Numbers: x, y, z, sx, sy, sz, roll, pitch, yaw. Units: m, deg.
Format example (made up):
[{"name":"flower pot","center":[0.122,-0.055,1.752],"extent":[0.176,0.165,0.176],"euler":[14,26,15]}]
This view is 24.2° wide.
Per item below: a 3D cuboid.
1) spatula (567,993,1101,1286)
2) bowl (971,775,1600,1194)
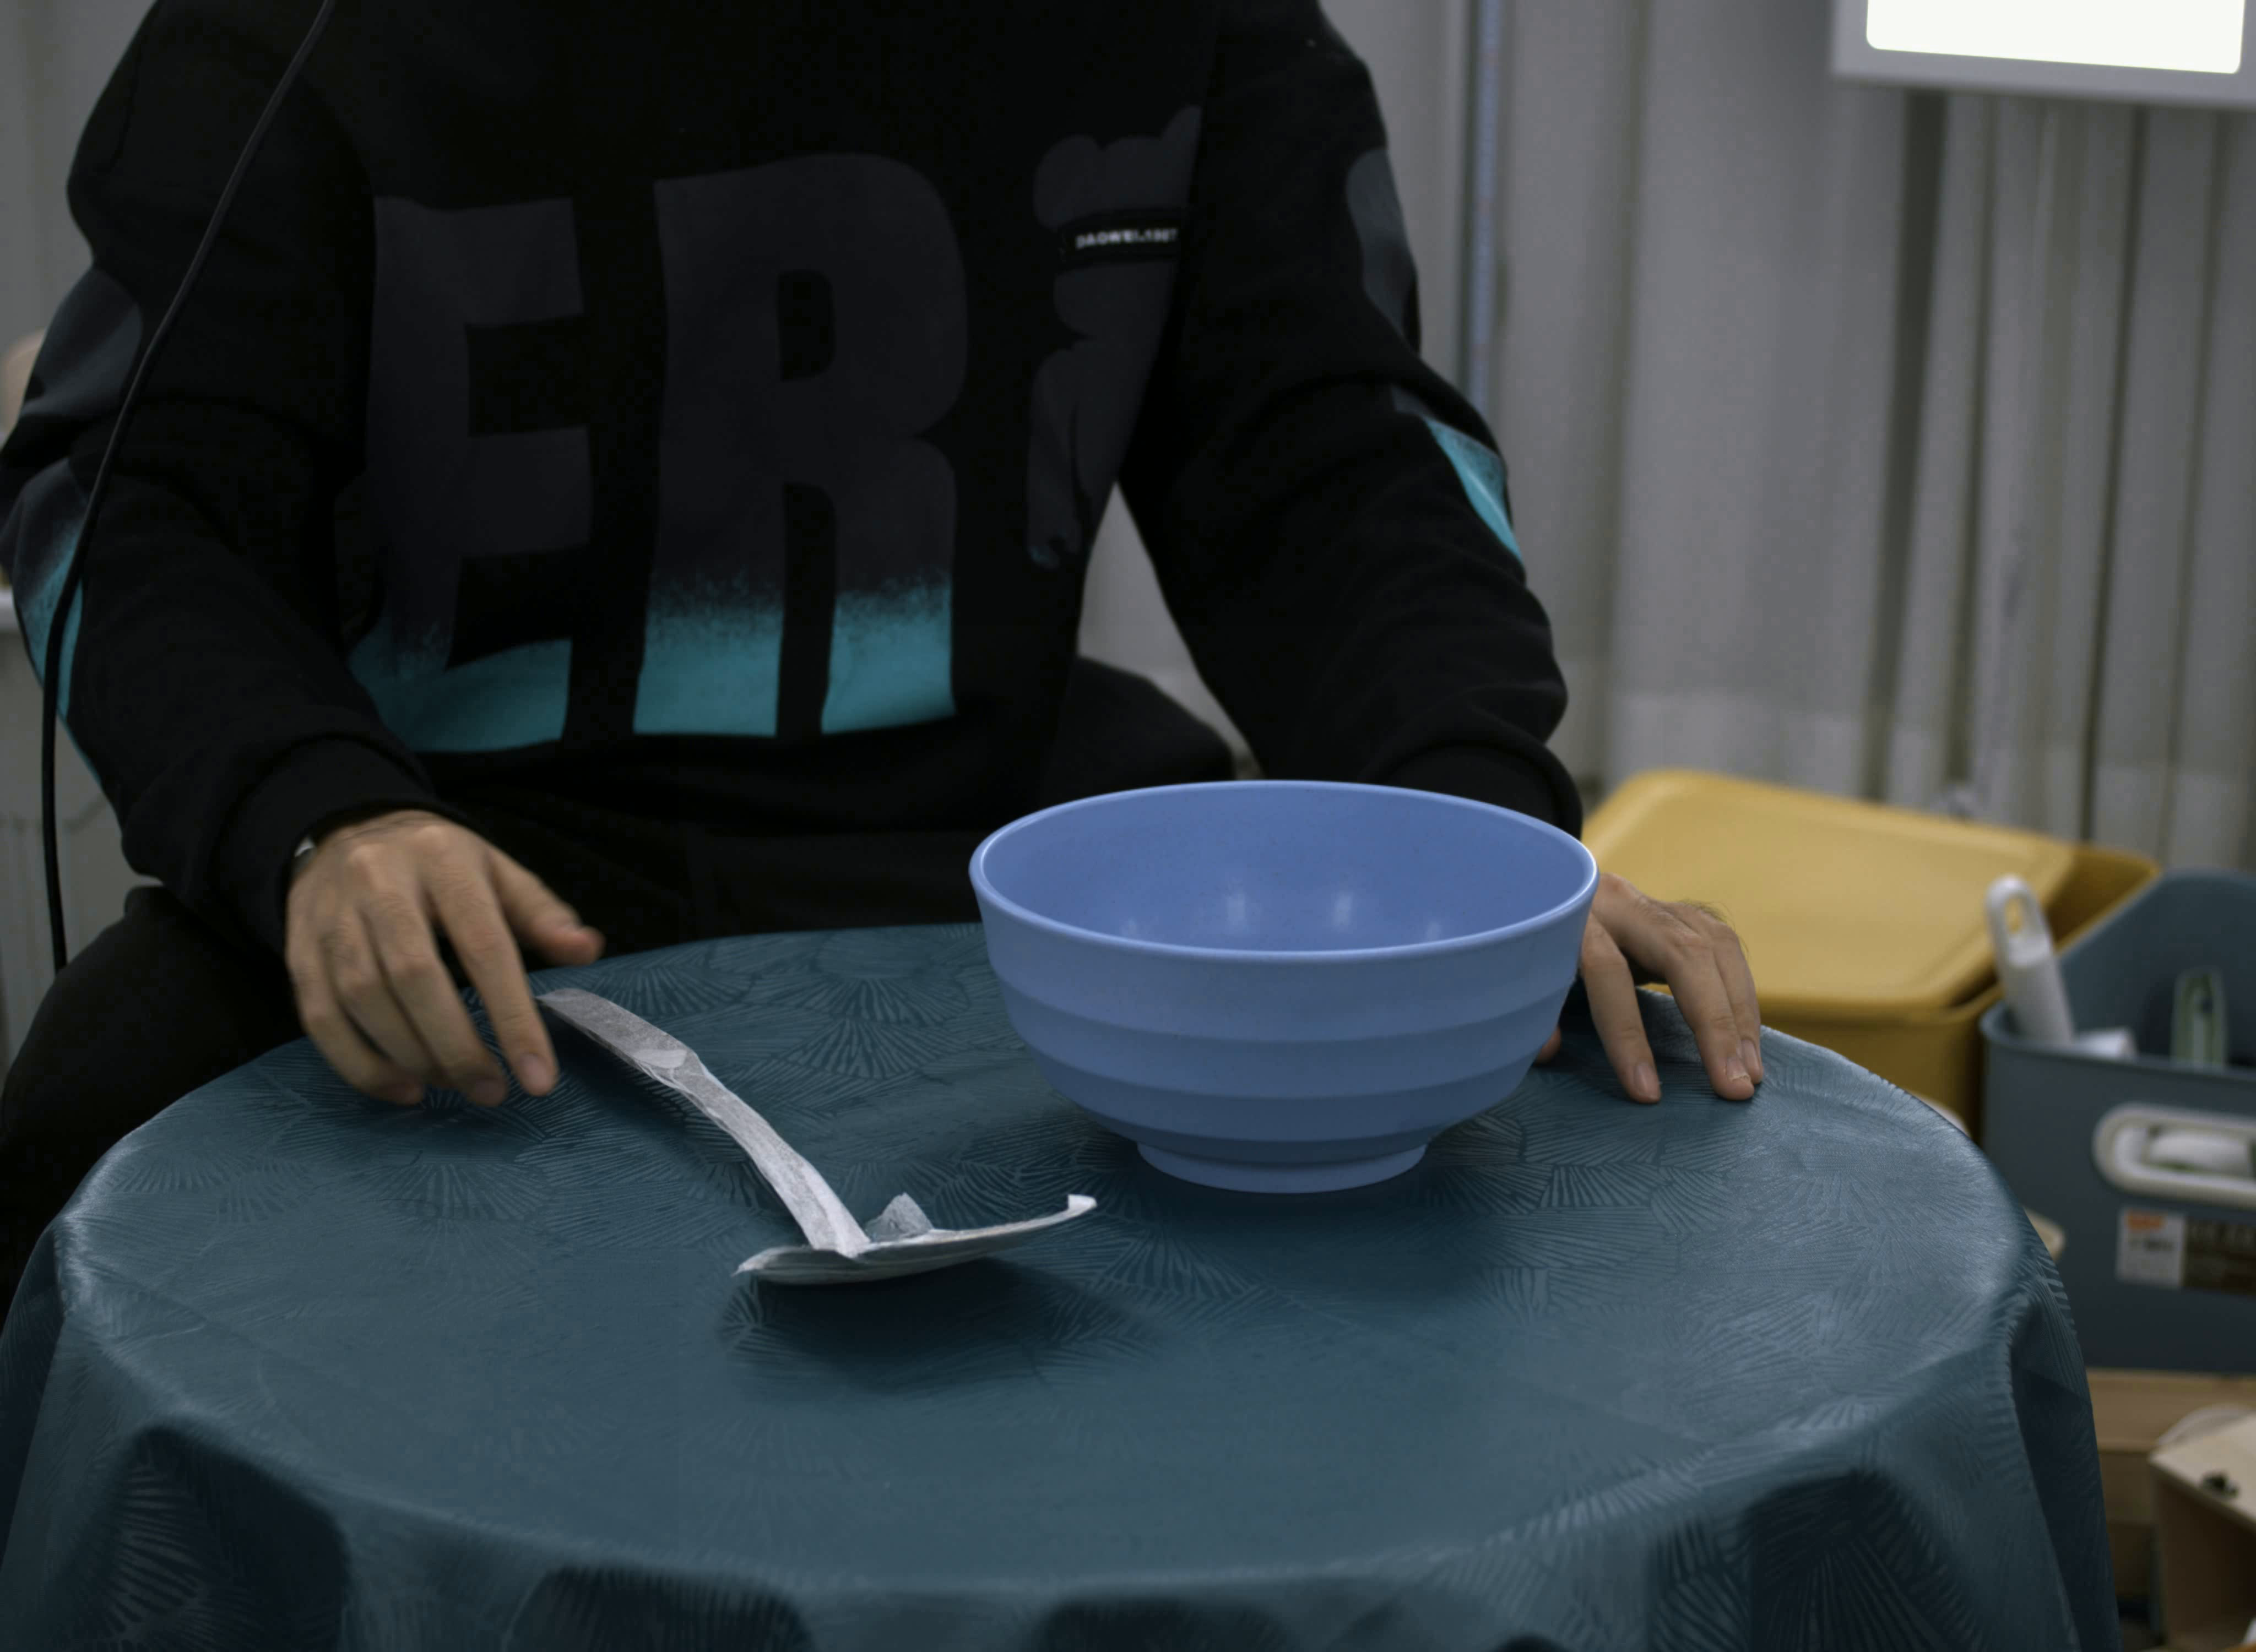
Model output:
[{"name":"spatula","center":[-0.117,0.088,1.638],"extent":[0.099,0.045,0.360],"euler":[-9,18,-23]},{"name":"bowl","center":[0.049,0.056,1.654],"extent":[0.196,0.096,0.195],"euler":[1,17,0]}]
